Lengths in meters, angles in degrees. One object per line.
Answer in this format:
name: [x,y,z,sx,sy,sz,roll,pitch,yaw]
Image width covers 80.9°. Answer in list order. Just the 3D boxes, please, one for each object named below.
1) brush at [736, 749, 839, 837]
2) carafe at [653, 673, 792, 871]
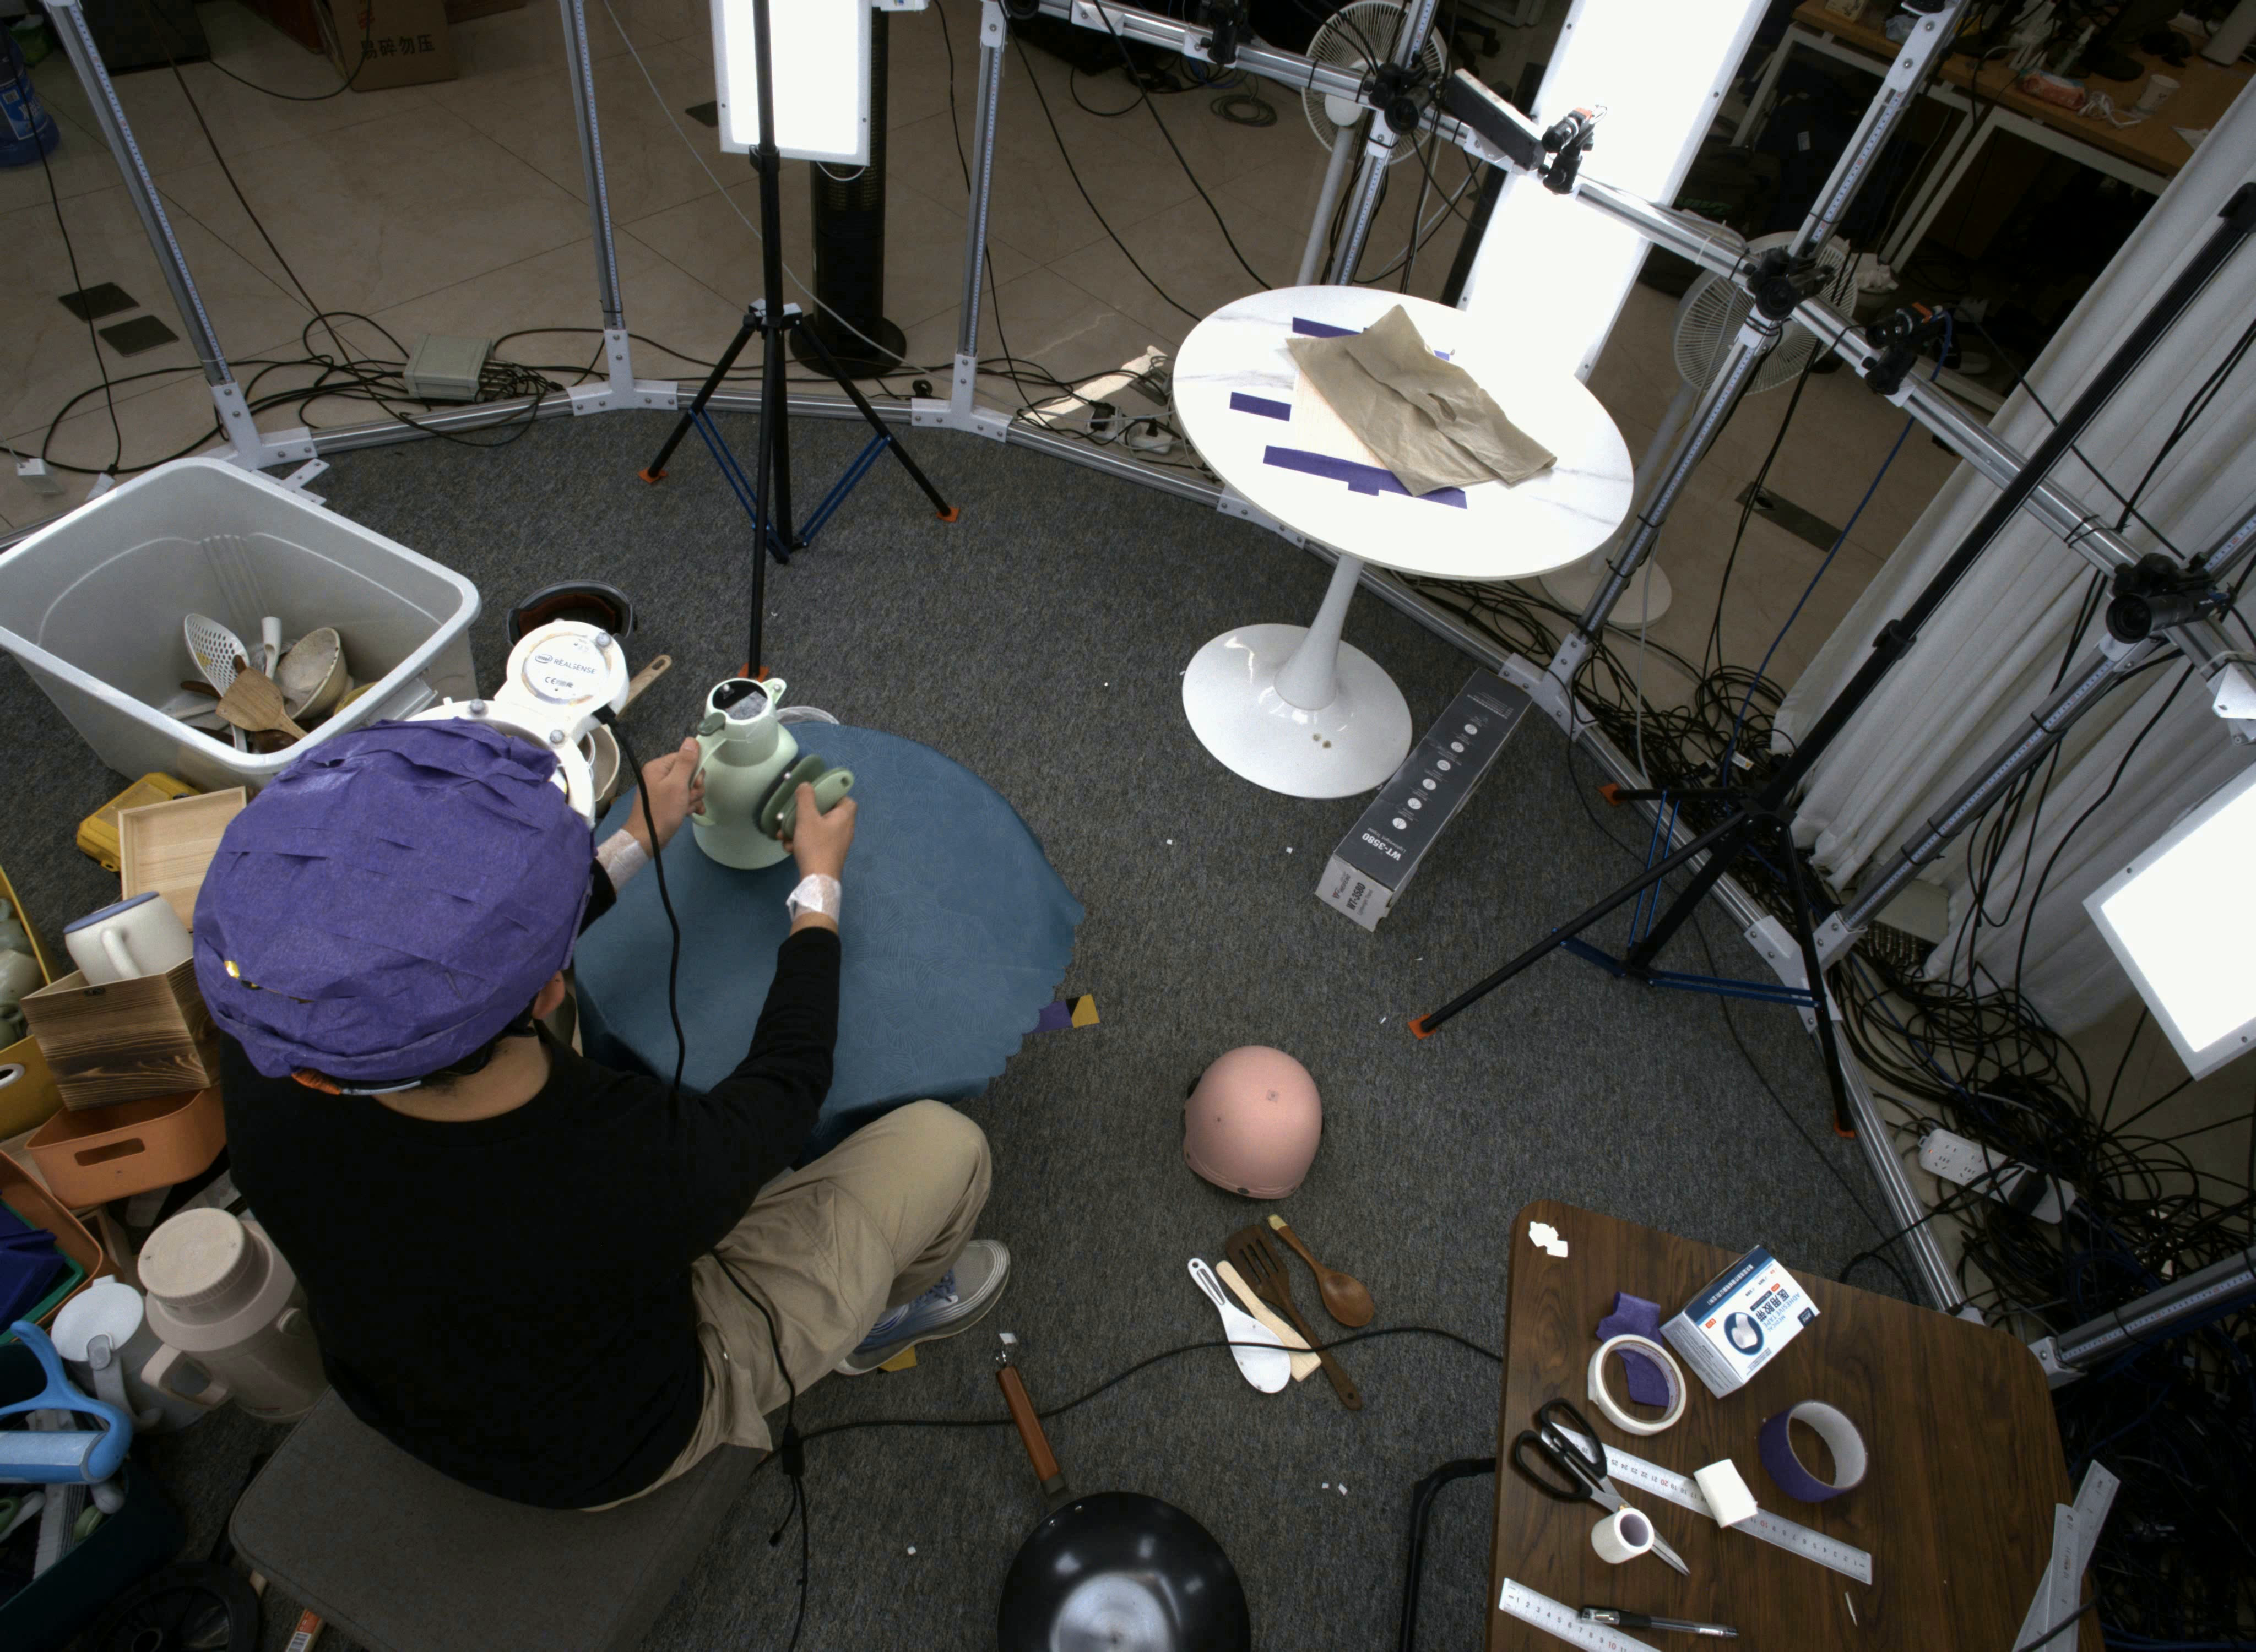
brush: [-0.409,-0.041,1.538,0.073,0.062,0.123,29,64,31]
carafe: [-0.500,-0.063,1.580,0.141,0.262,0.186,31,55,12]
